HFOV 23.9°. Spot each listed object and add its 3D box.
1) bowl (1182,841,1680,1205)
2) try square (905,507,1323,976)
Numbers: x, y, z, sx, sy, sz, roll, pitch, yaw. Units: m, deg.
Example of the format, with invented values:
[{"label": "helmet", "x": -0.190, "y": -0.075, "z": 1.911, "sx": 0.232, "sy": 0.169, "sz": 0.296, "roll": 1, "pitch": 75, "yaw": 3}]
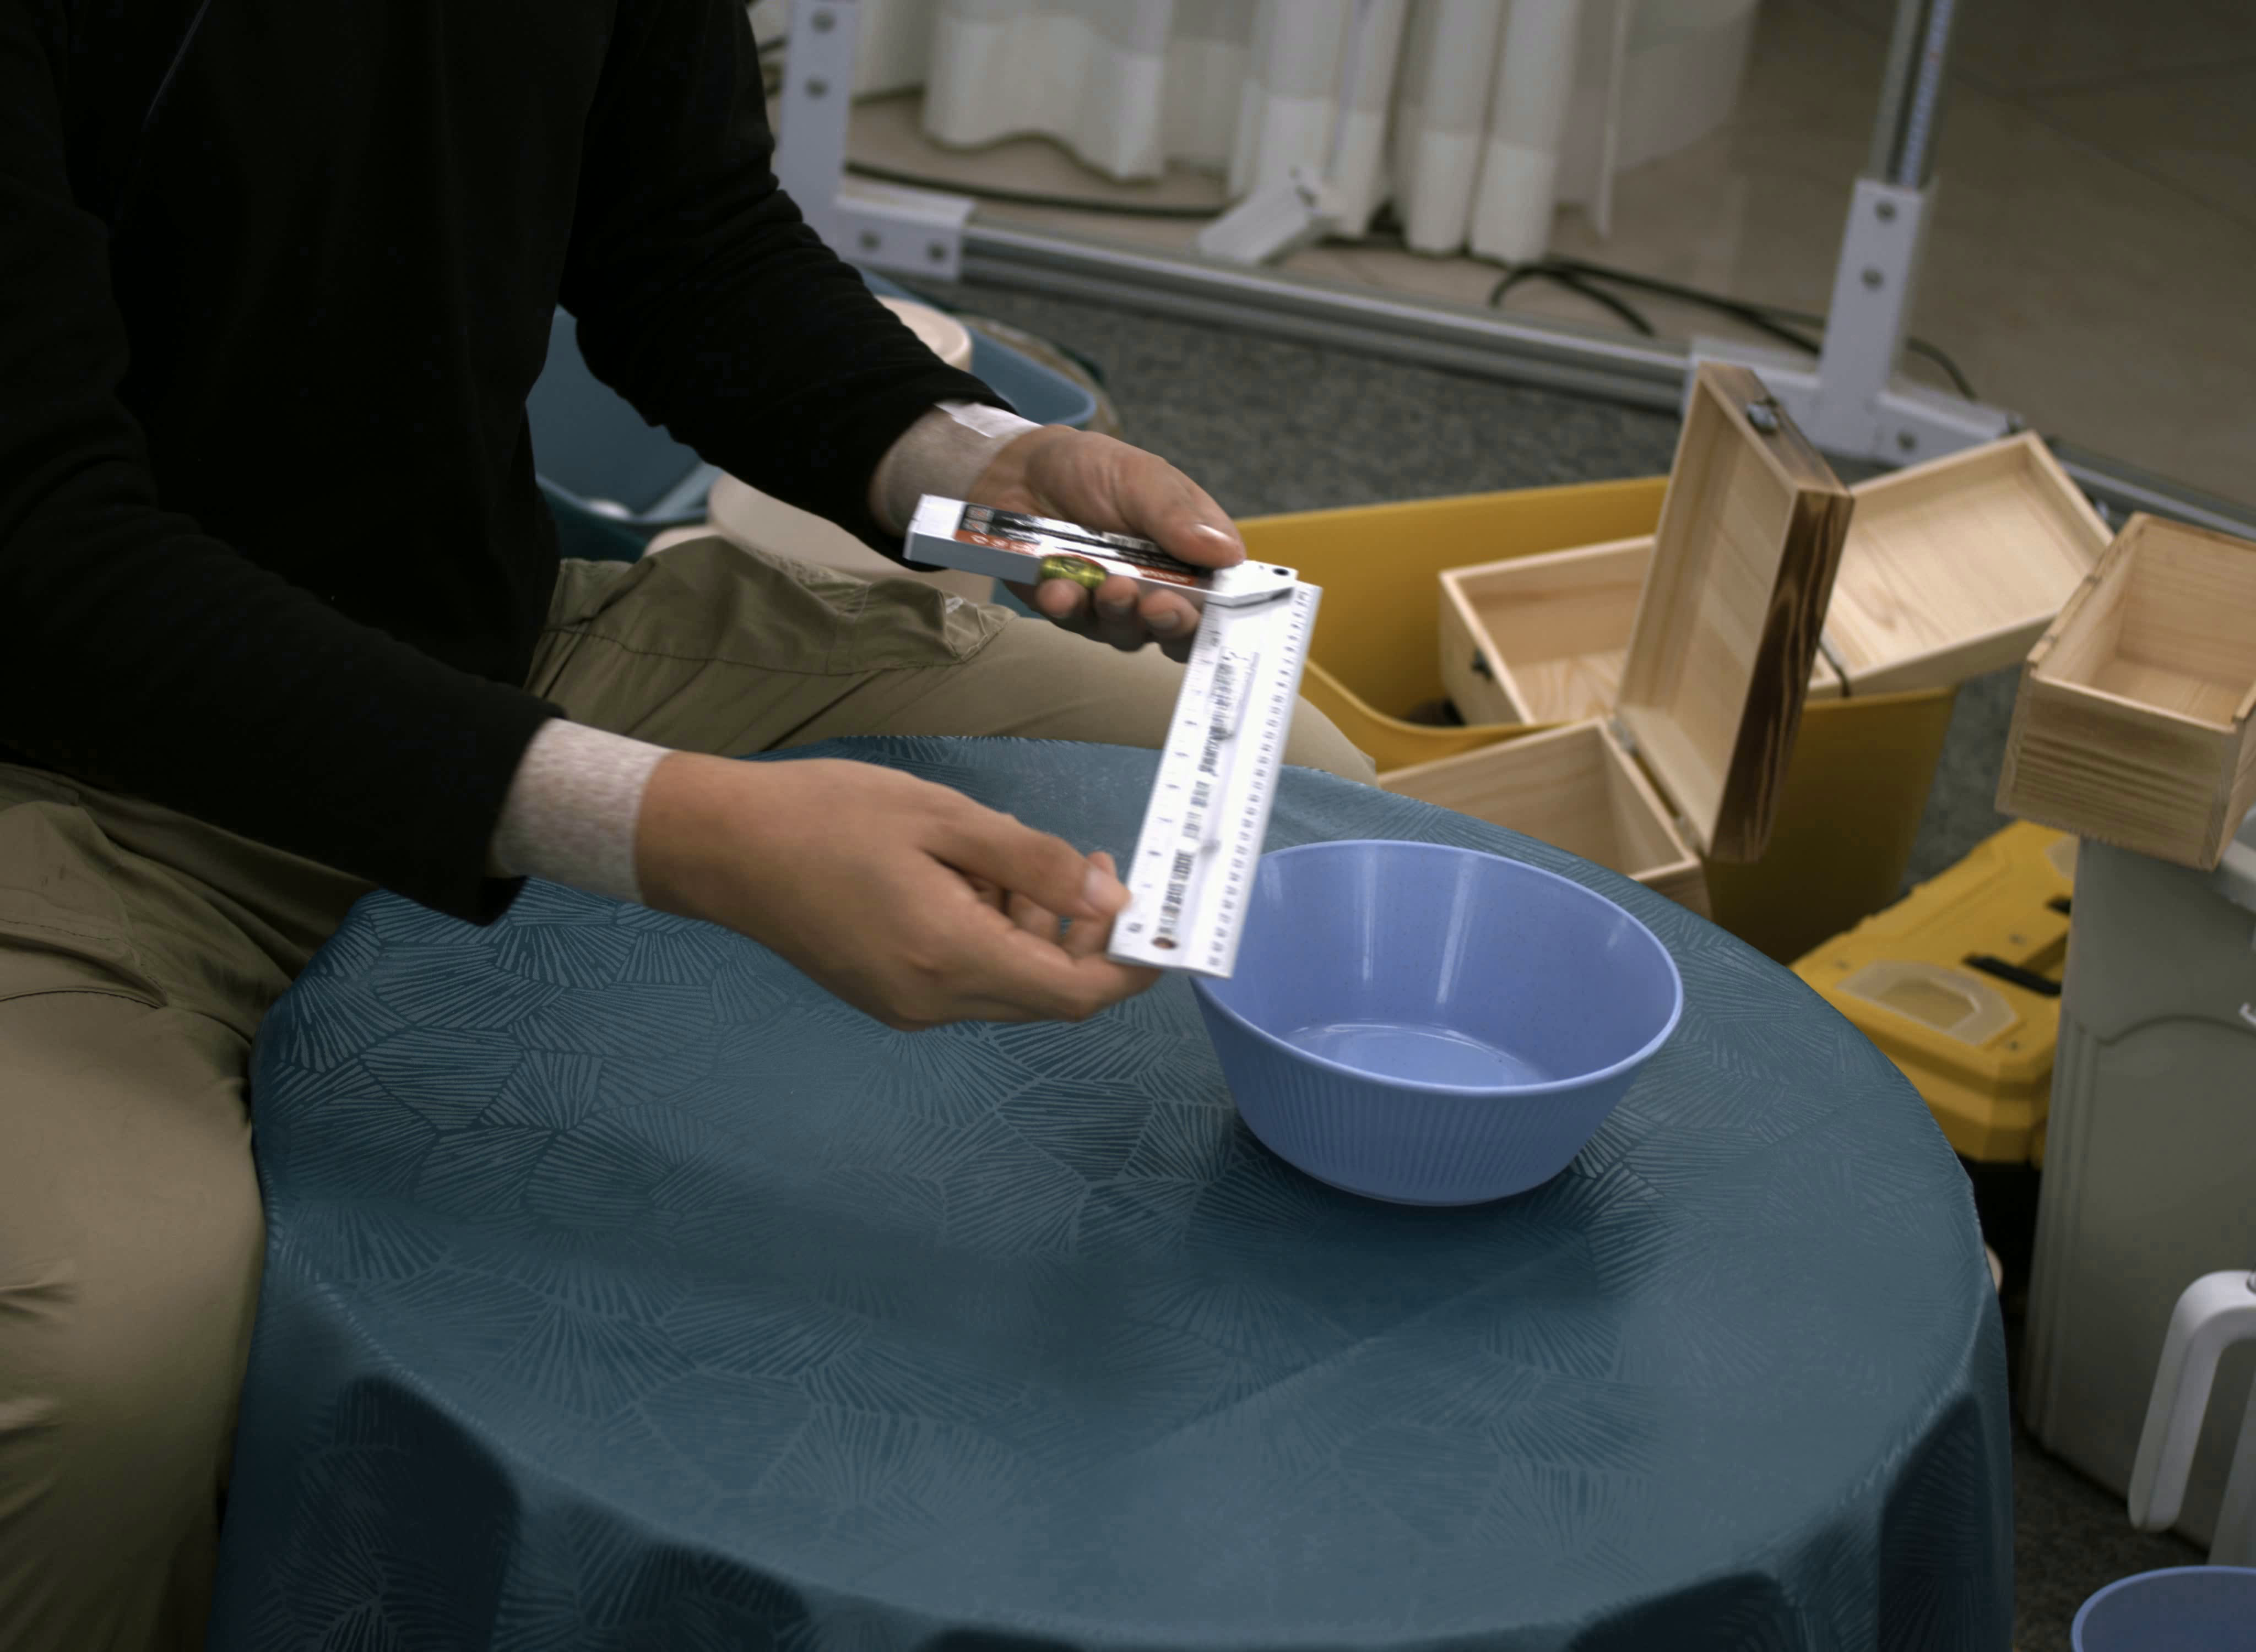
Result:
[{"label": "bowl", "x": 0.100, "y": 0.074, "z": 1.844, "sx": 0.175, "sy": 0.070, "sz": 0.177, "roll": 5, "pitch": 28, "yaw": -3}, {"label": "try square", "x": -0.022, "y": -0.034, "z": 1.827, "sx": 0.152, "sy": 0.016, "sz": 0.314, "roll": 9, "pitch": 27, "yaw": 4}]
